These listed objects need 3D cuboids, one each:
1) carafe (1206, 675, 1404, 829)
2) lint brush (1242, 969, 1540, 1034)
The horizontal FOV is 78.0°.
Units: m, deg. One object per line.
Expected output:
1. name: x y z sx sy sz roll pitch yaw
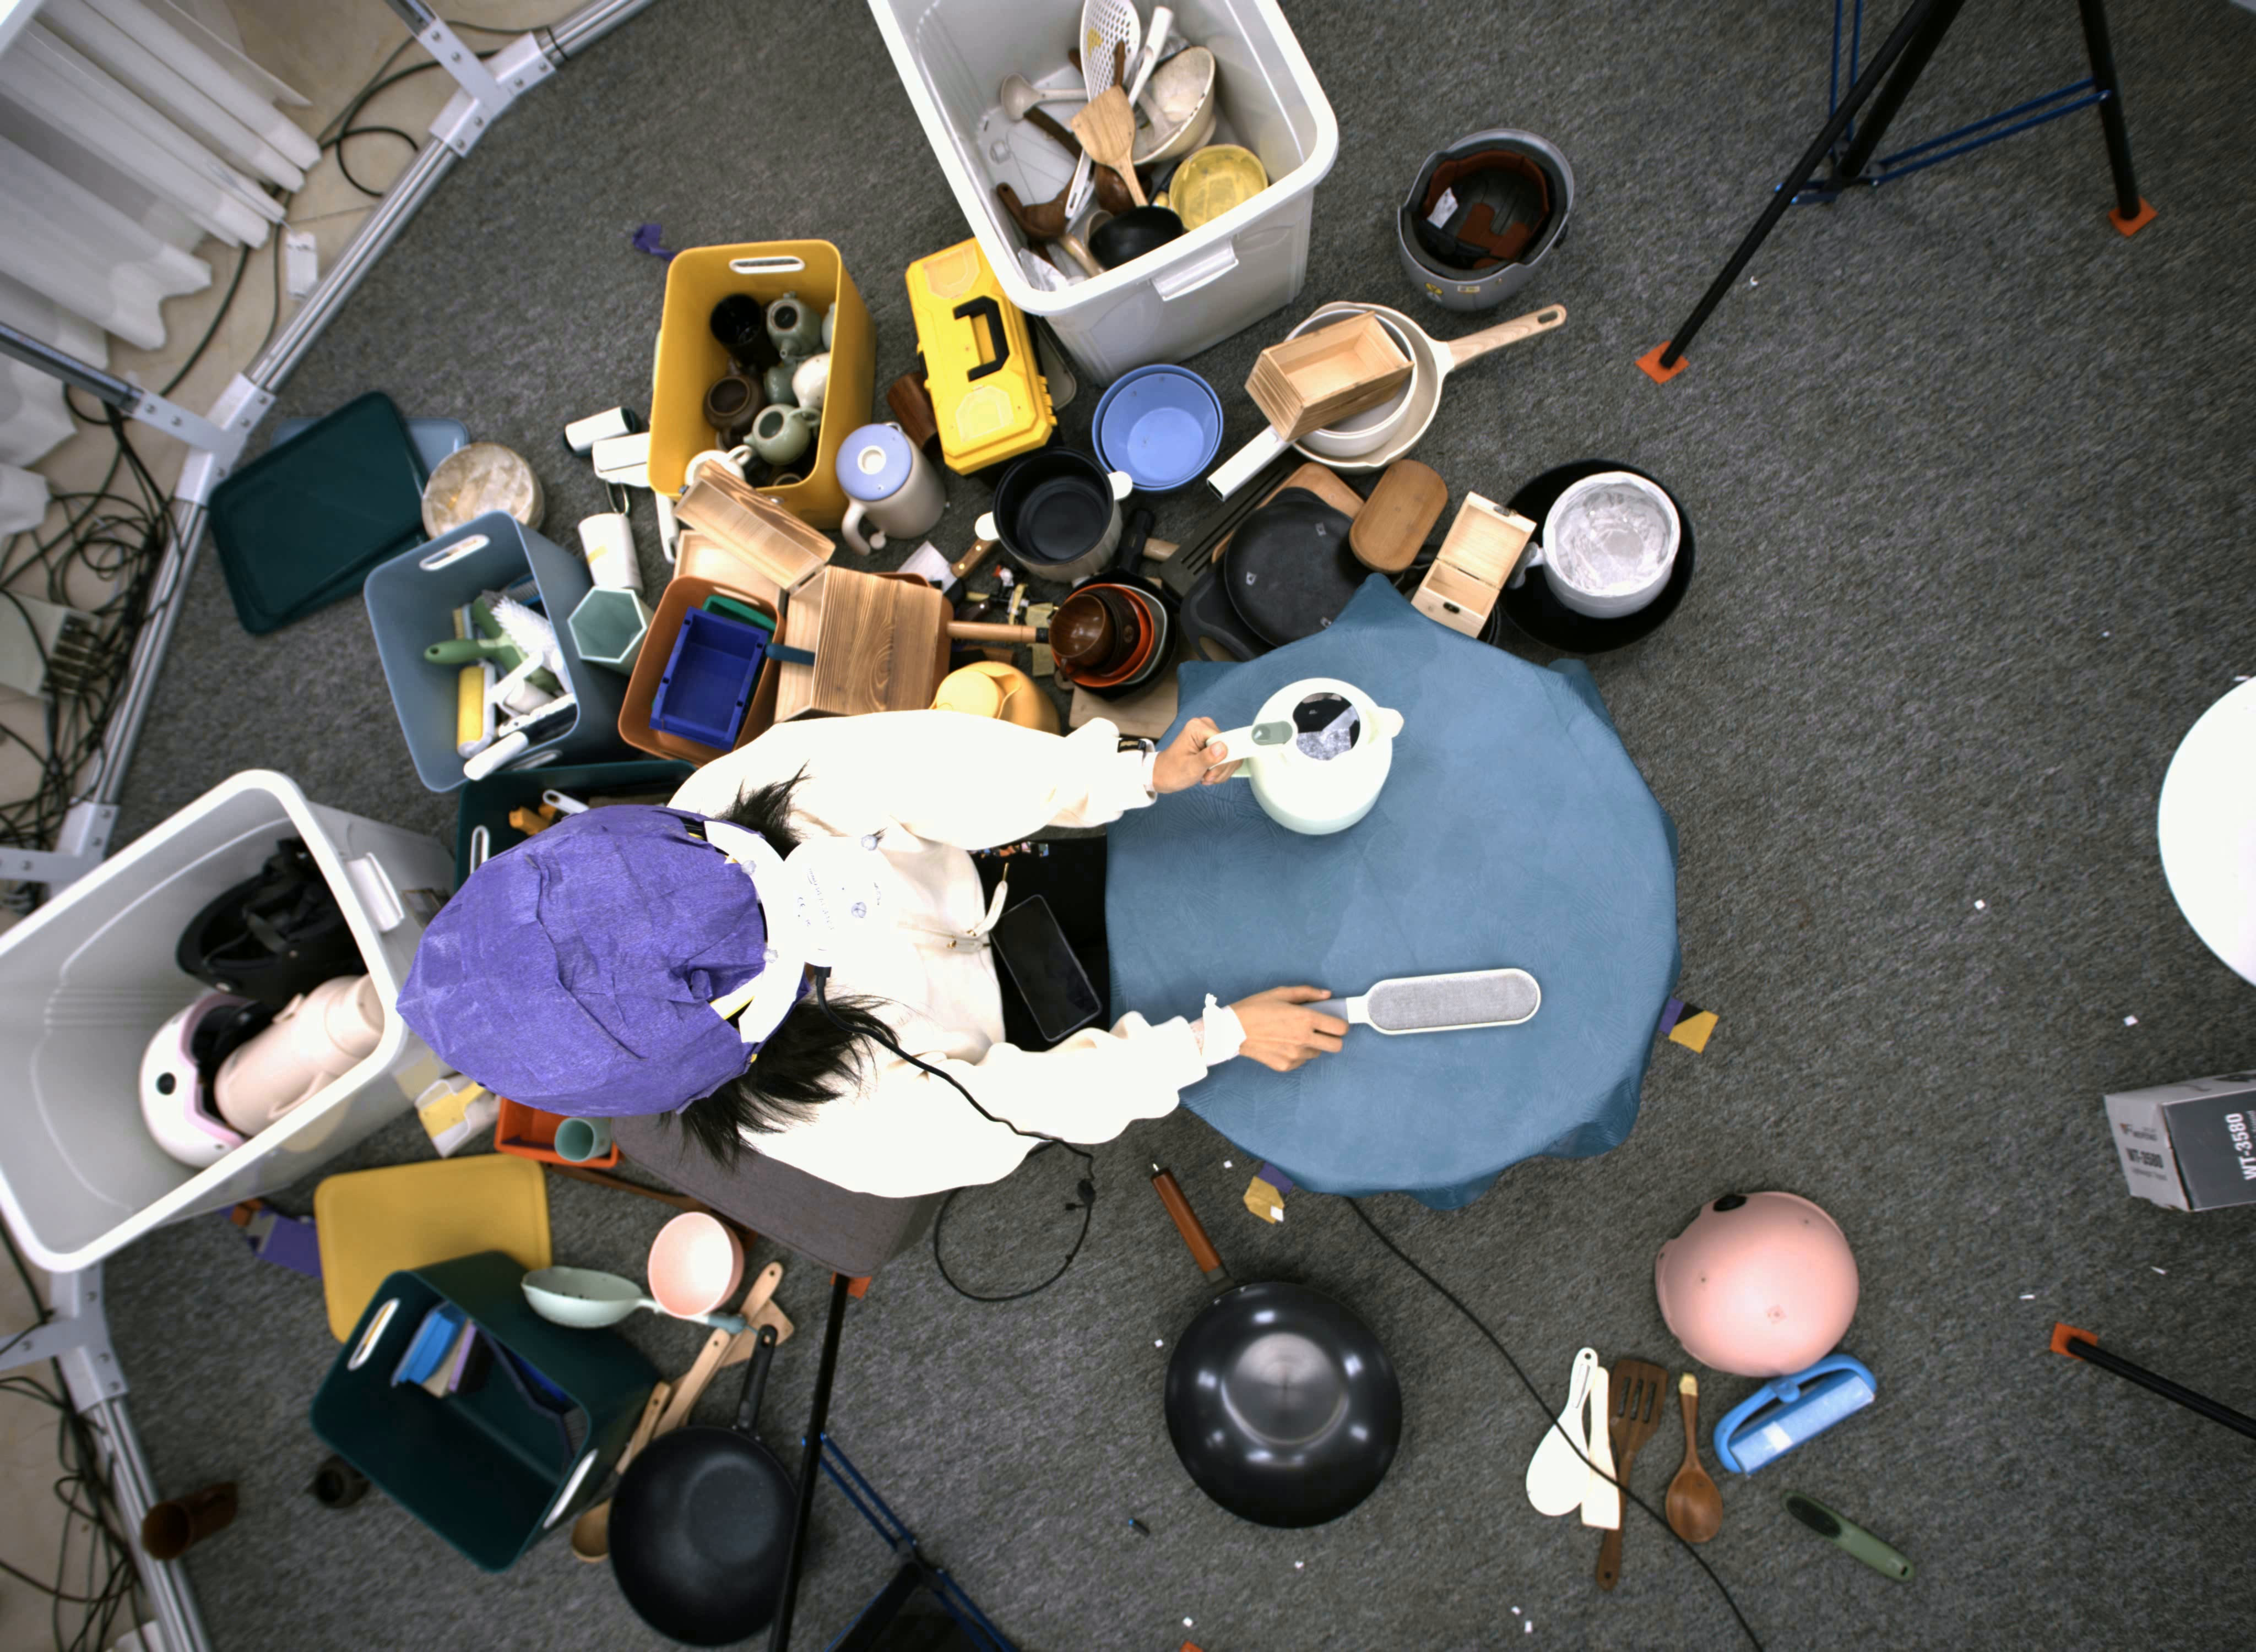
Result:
1. carafe: 0.174 -0.077 1.356 0.187 0.257 0.143 -7 85 9
2. lint brush: 0.272 0.185 1.439 0.310 0.021 0.060 -6 87 9
